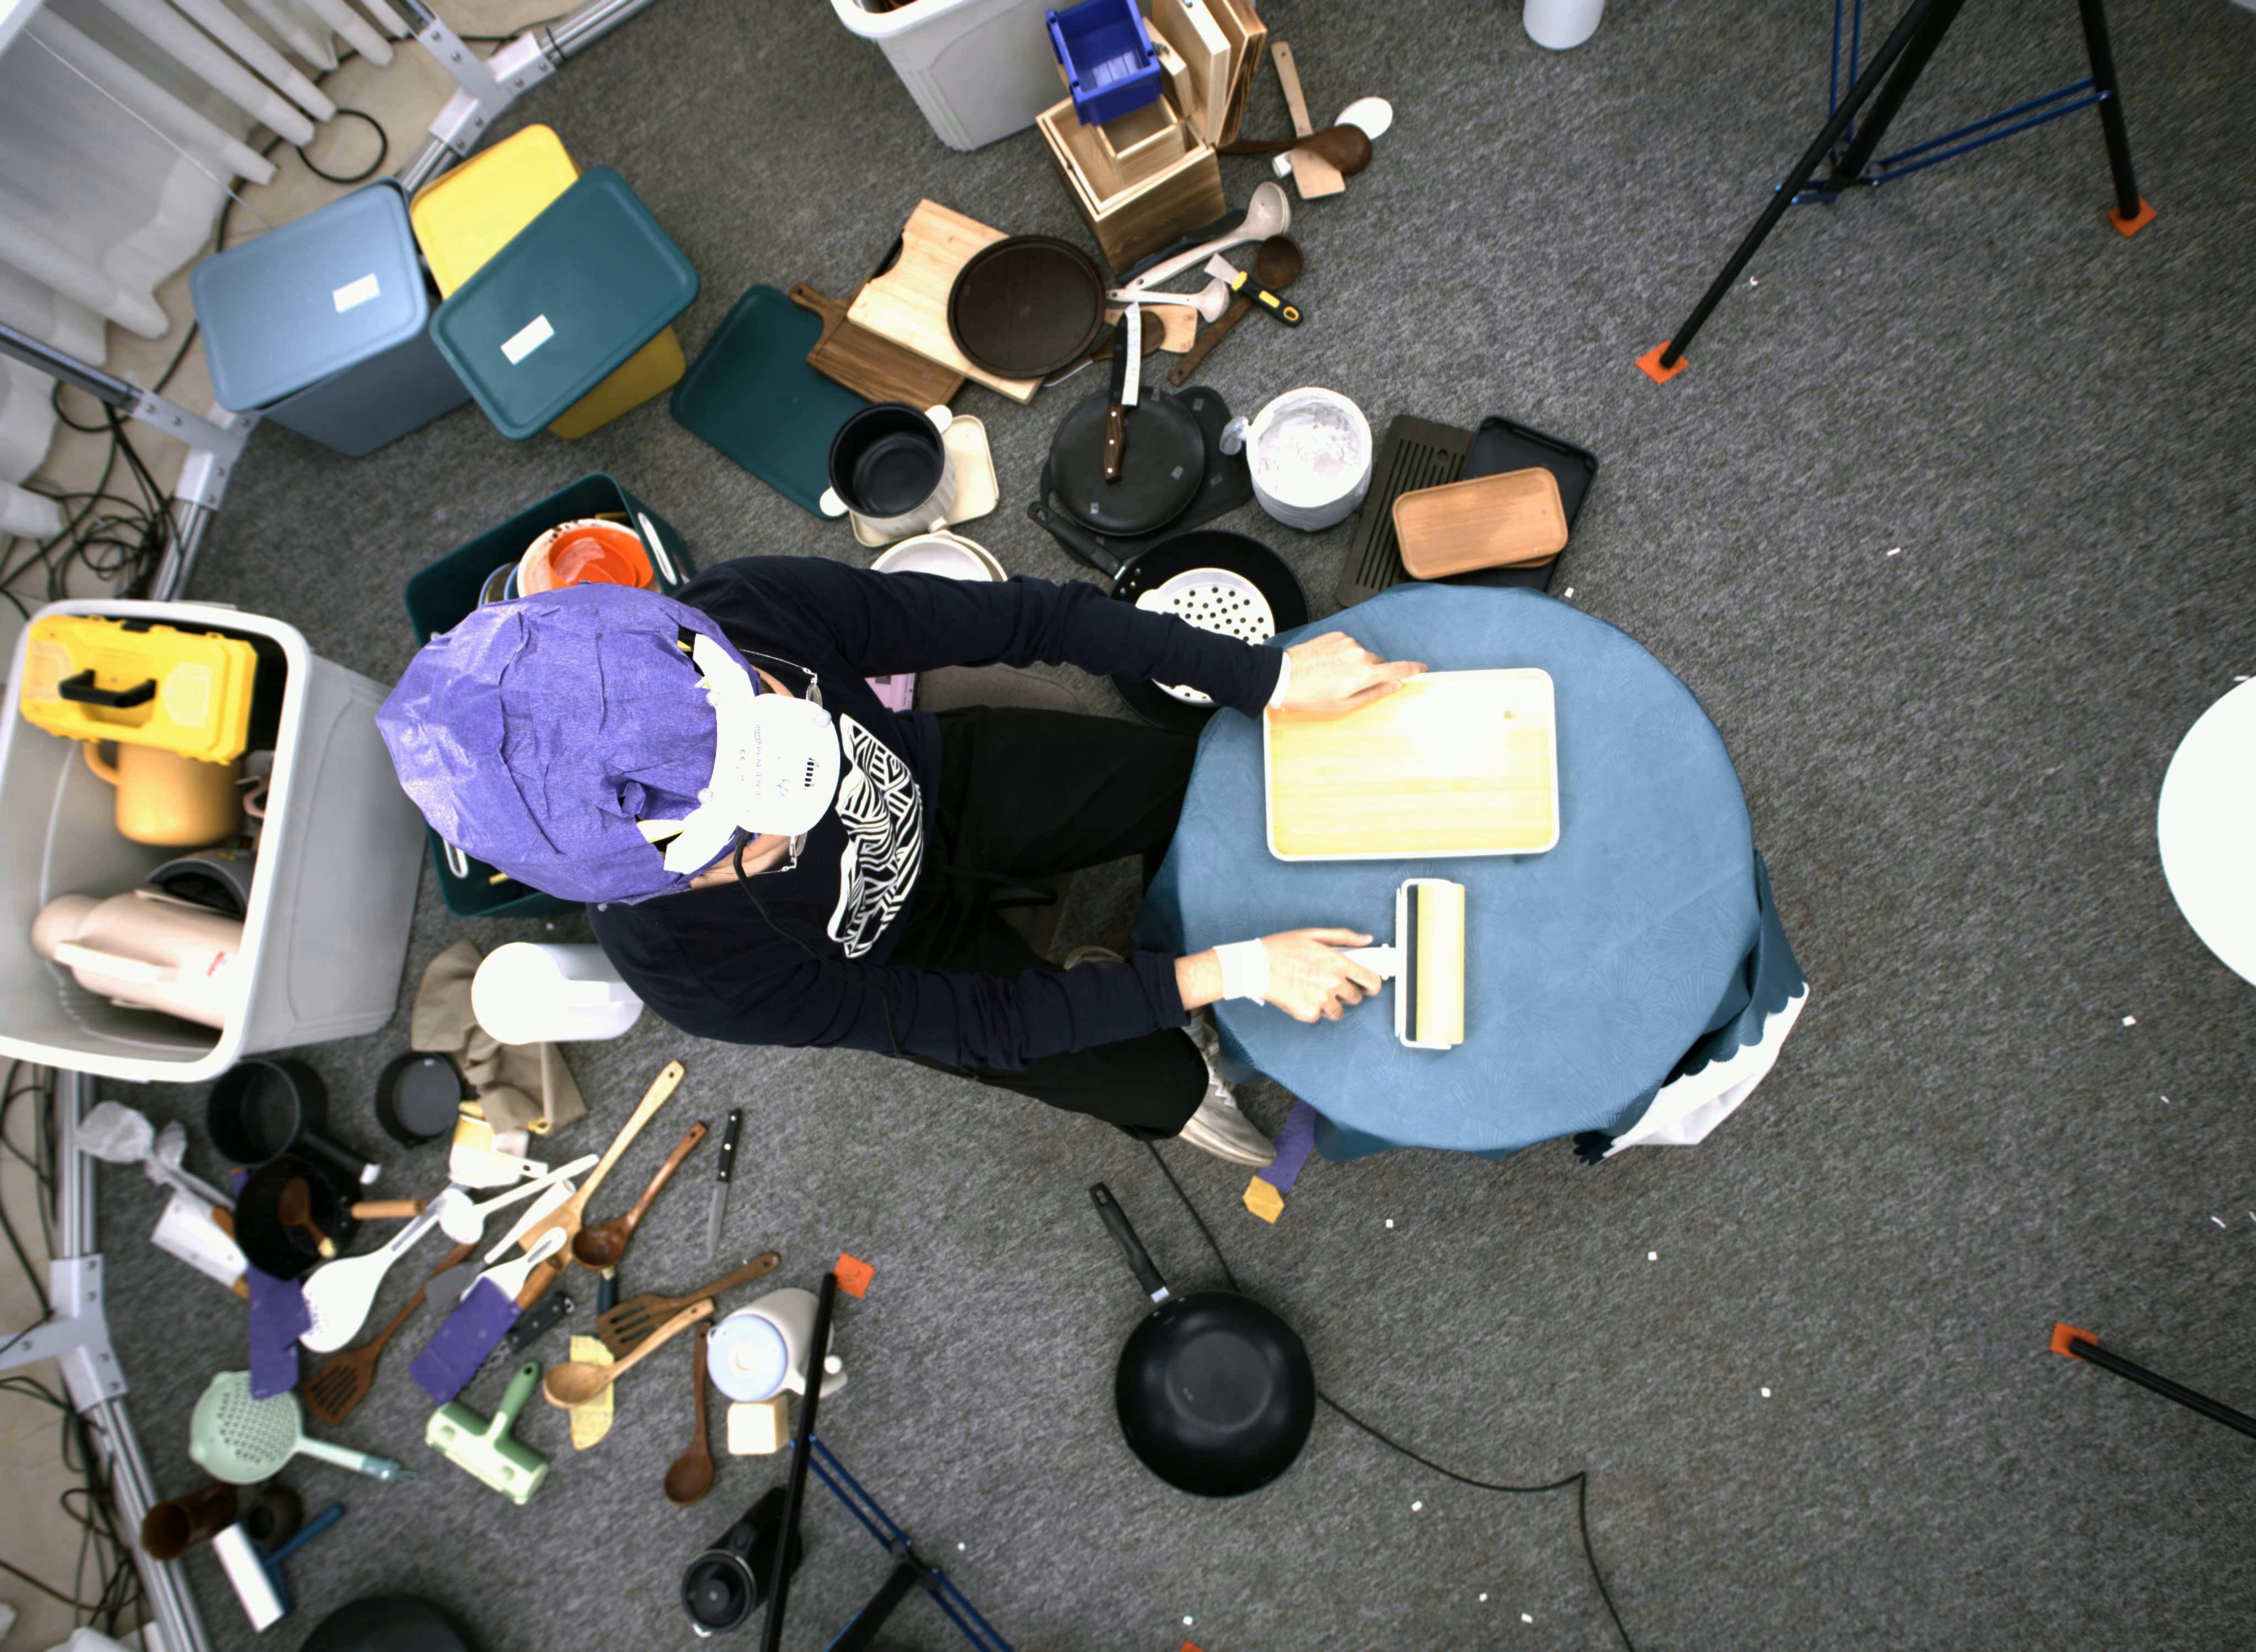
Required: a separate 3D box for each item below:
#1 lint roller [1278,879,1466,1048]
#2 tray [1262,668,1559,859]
[{"bbox_3d":[0.252,0.142,1.435,0.192,0.051,0.173,-1,86,8],"label":"lint roller"},{"bbox_3d":[0.294,-0.065,1.442,0.301,0.027,0.191,-2,91,11],"label":"tray"}]
